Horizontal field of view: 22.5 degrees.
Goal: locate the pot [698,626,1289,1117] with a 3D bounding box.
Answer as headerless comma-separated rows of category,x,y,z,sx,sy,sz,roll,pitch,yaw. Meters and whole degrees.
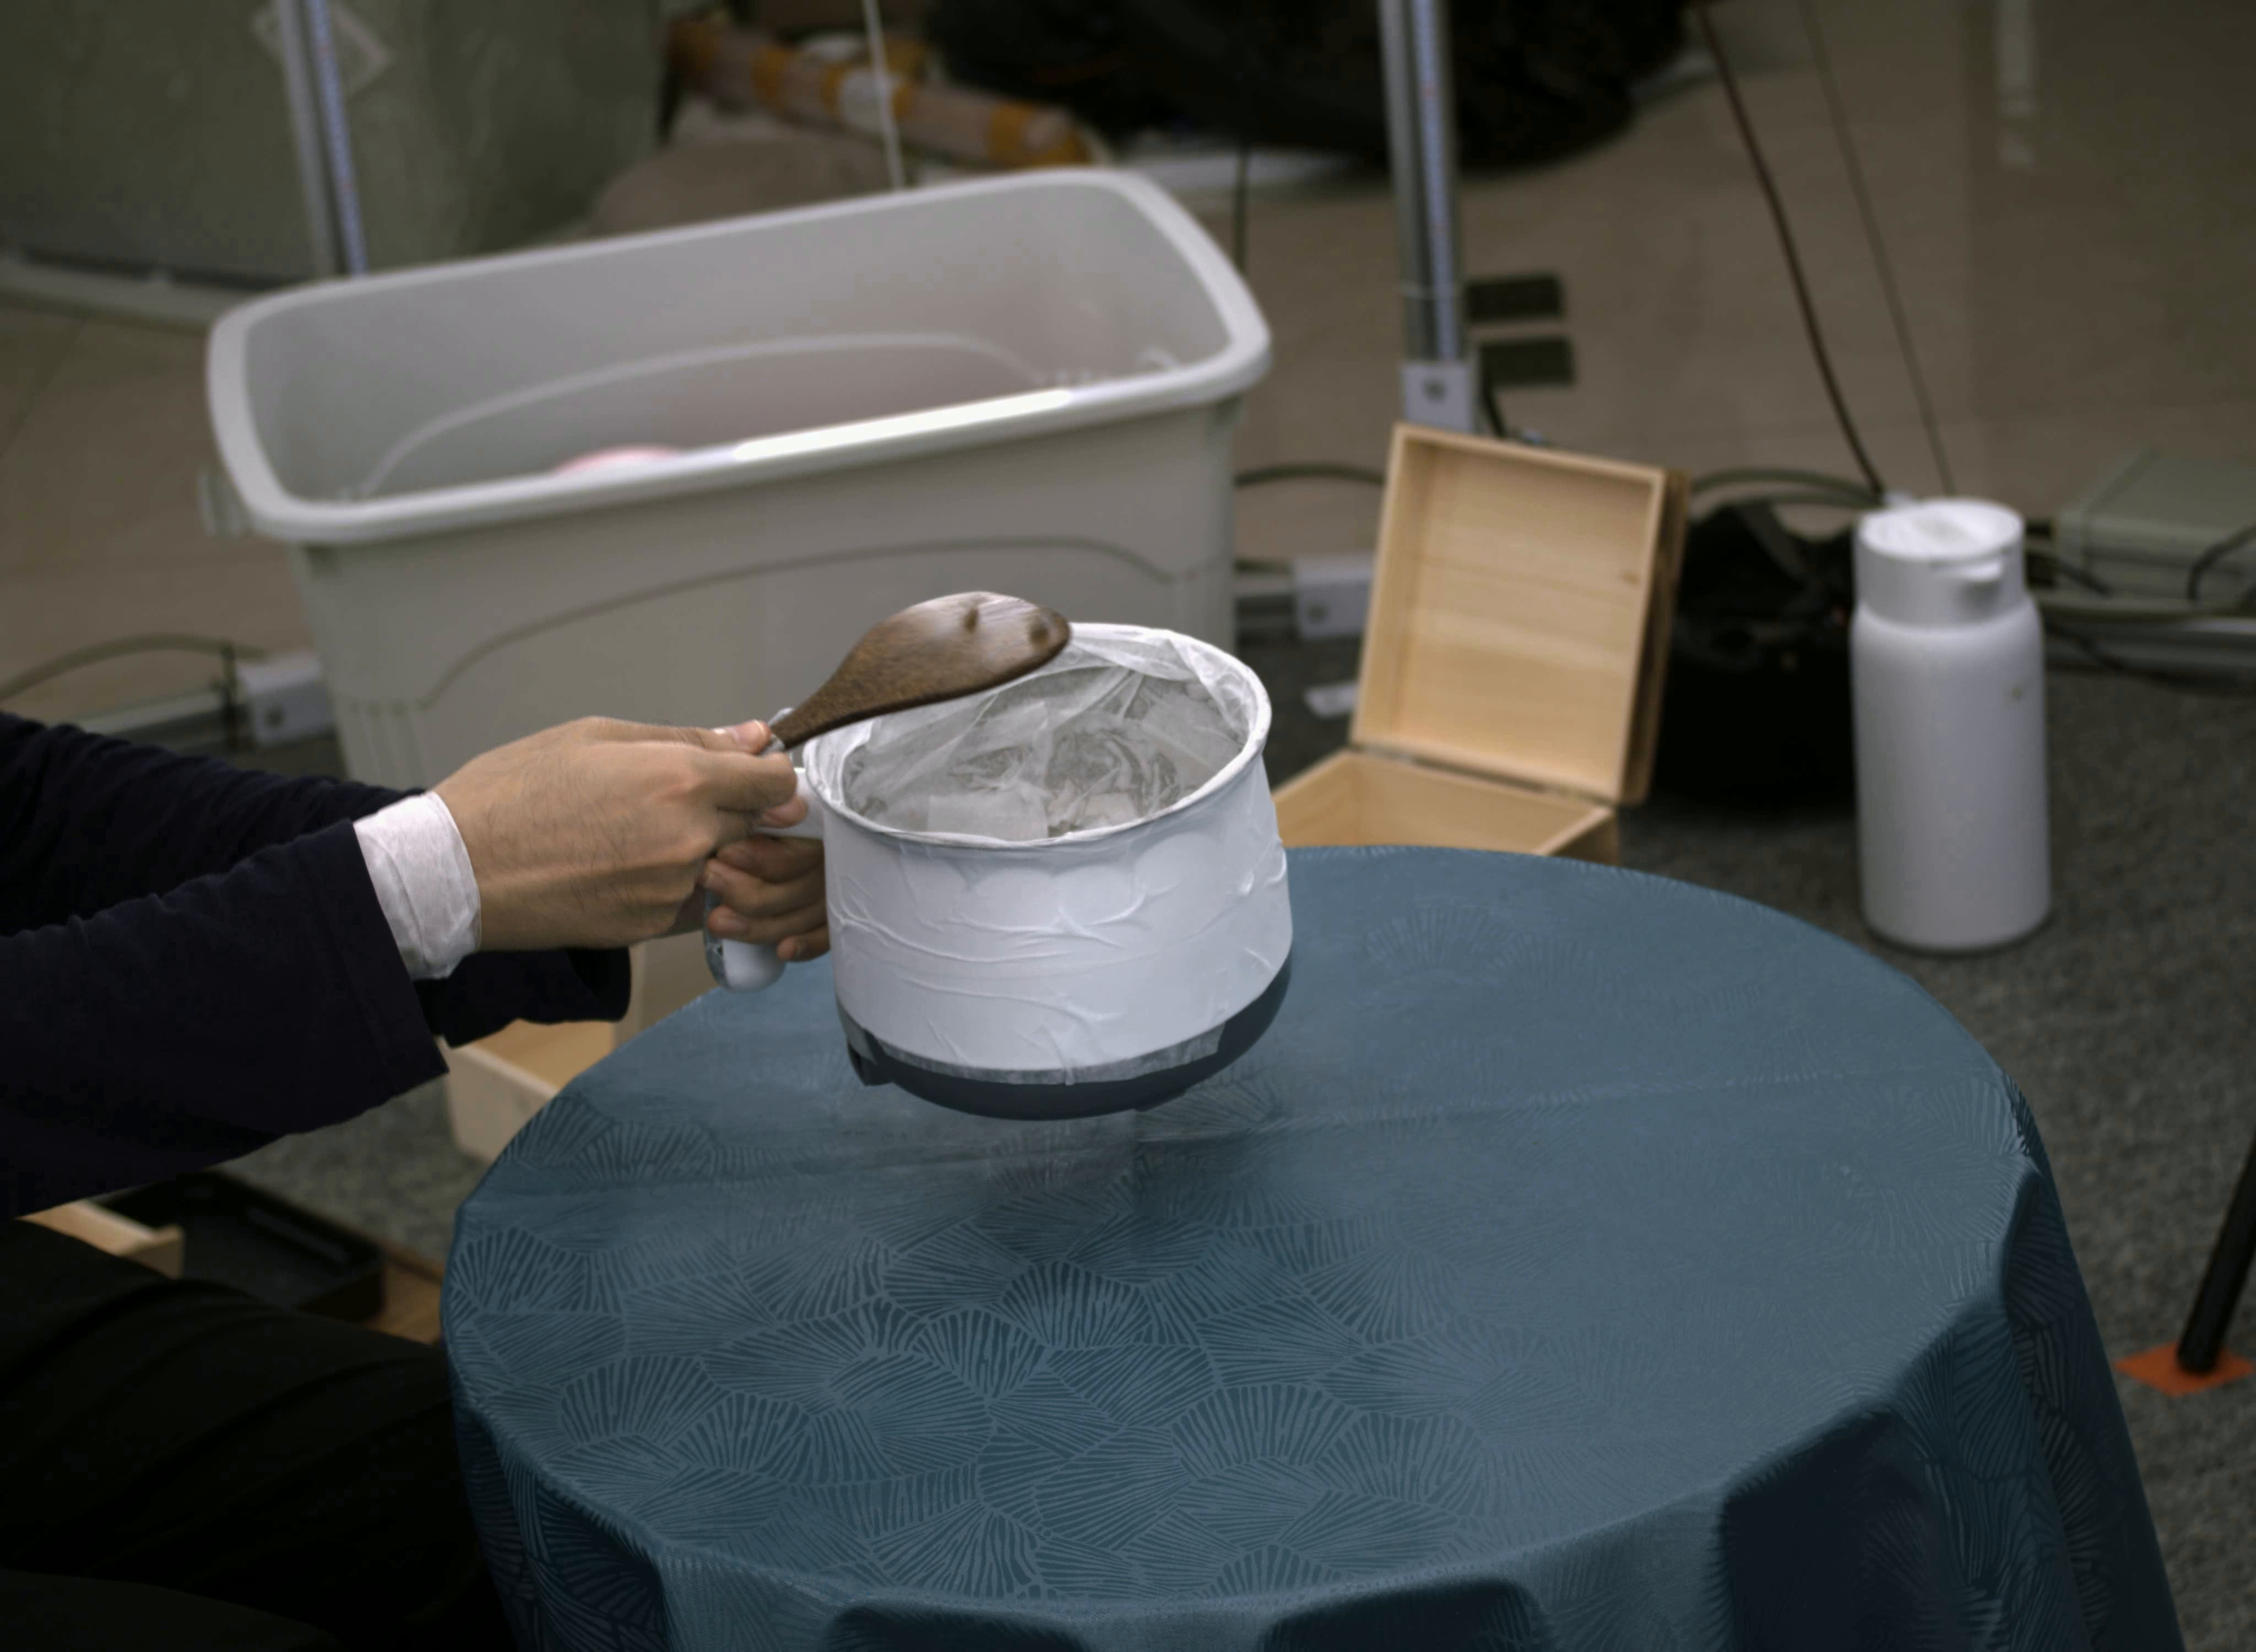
pot,-0.055,0.018,2.159,0.233,0.139,0.176,3,28,14

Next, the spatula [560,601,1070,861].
spatula,-0.115,-0.035,2.018,0.214,0.009,0.071,-29,33,-27
